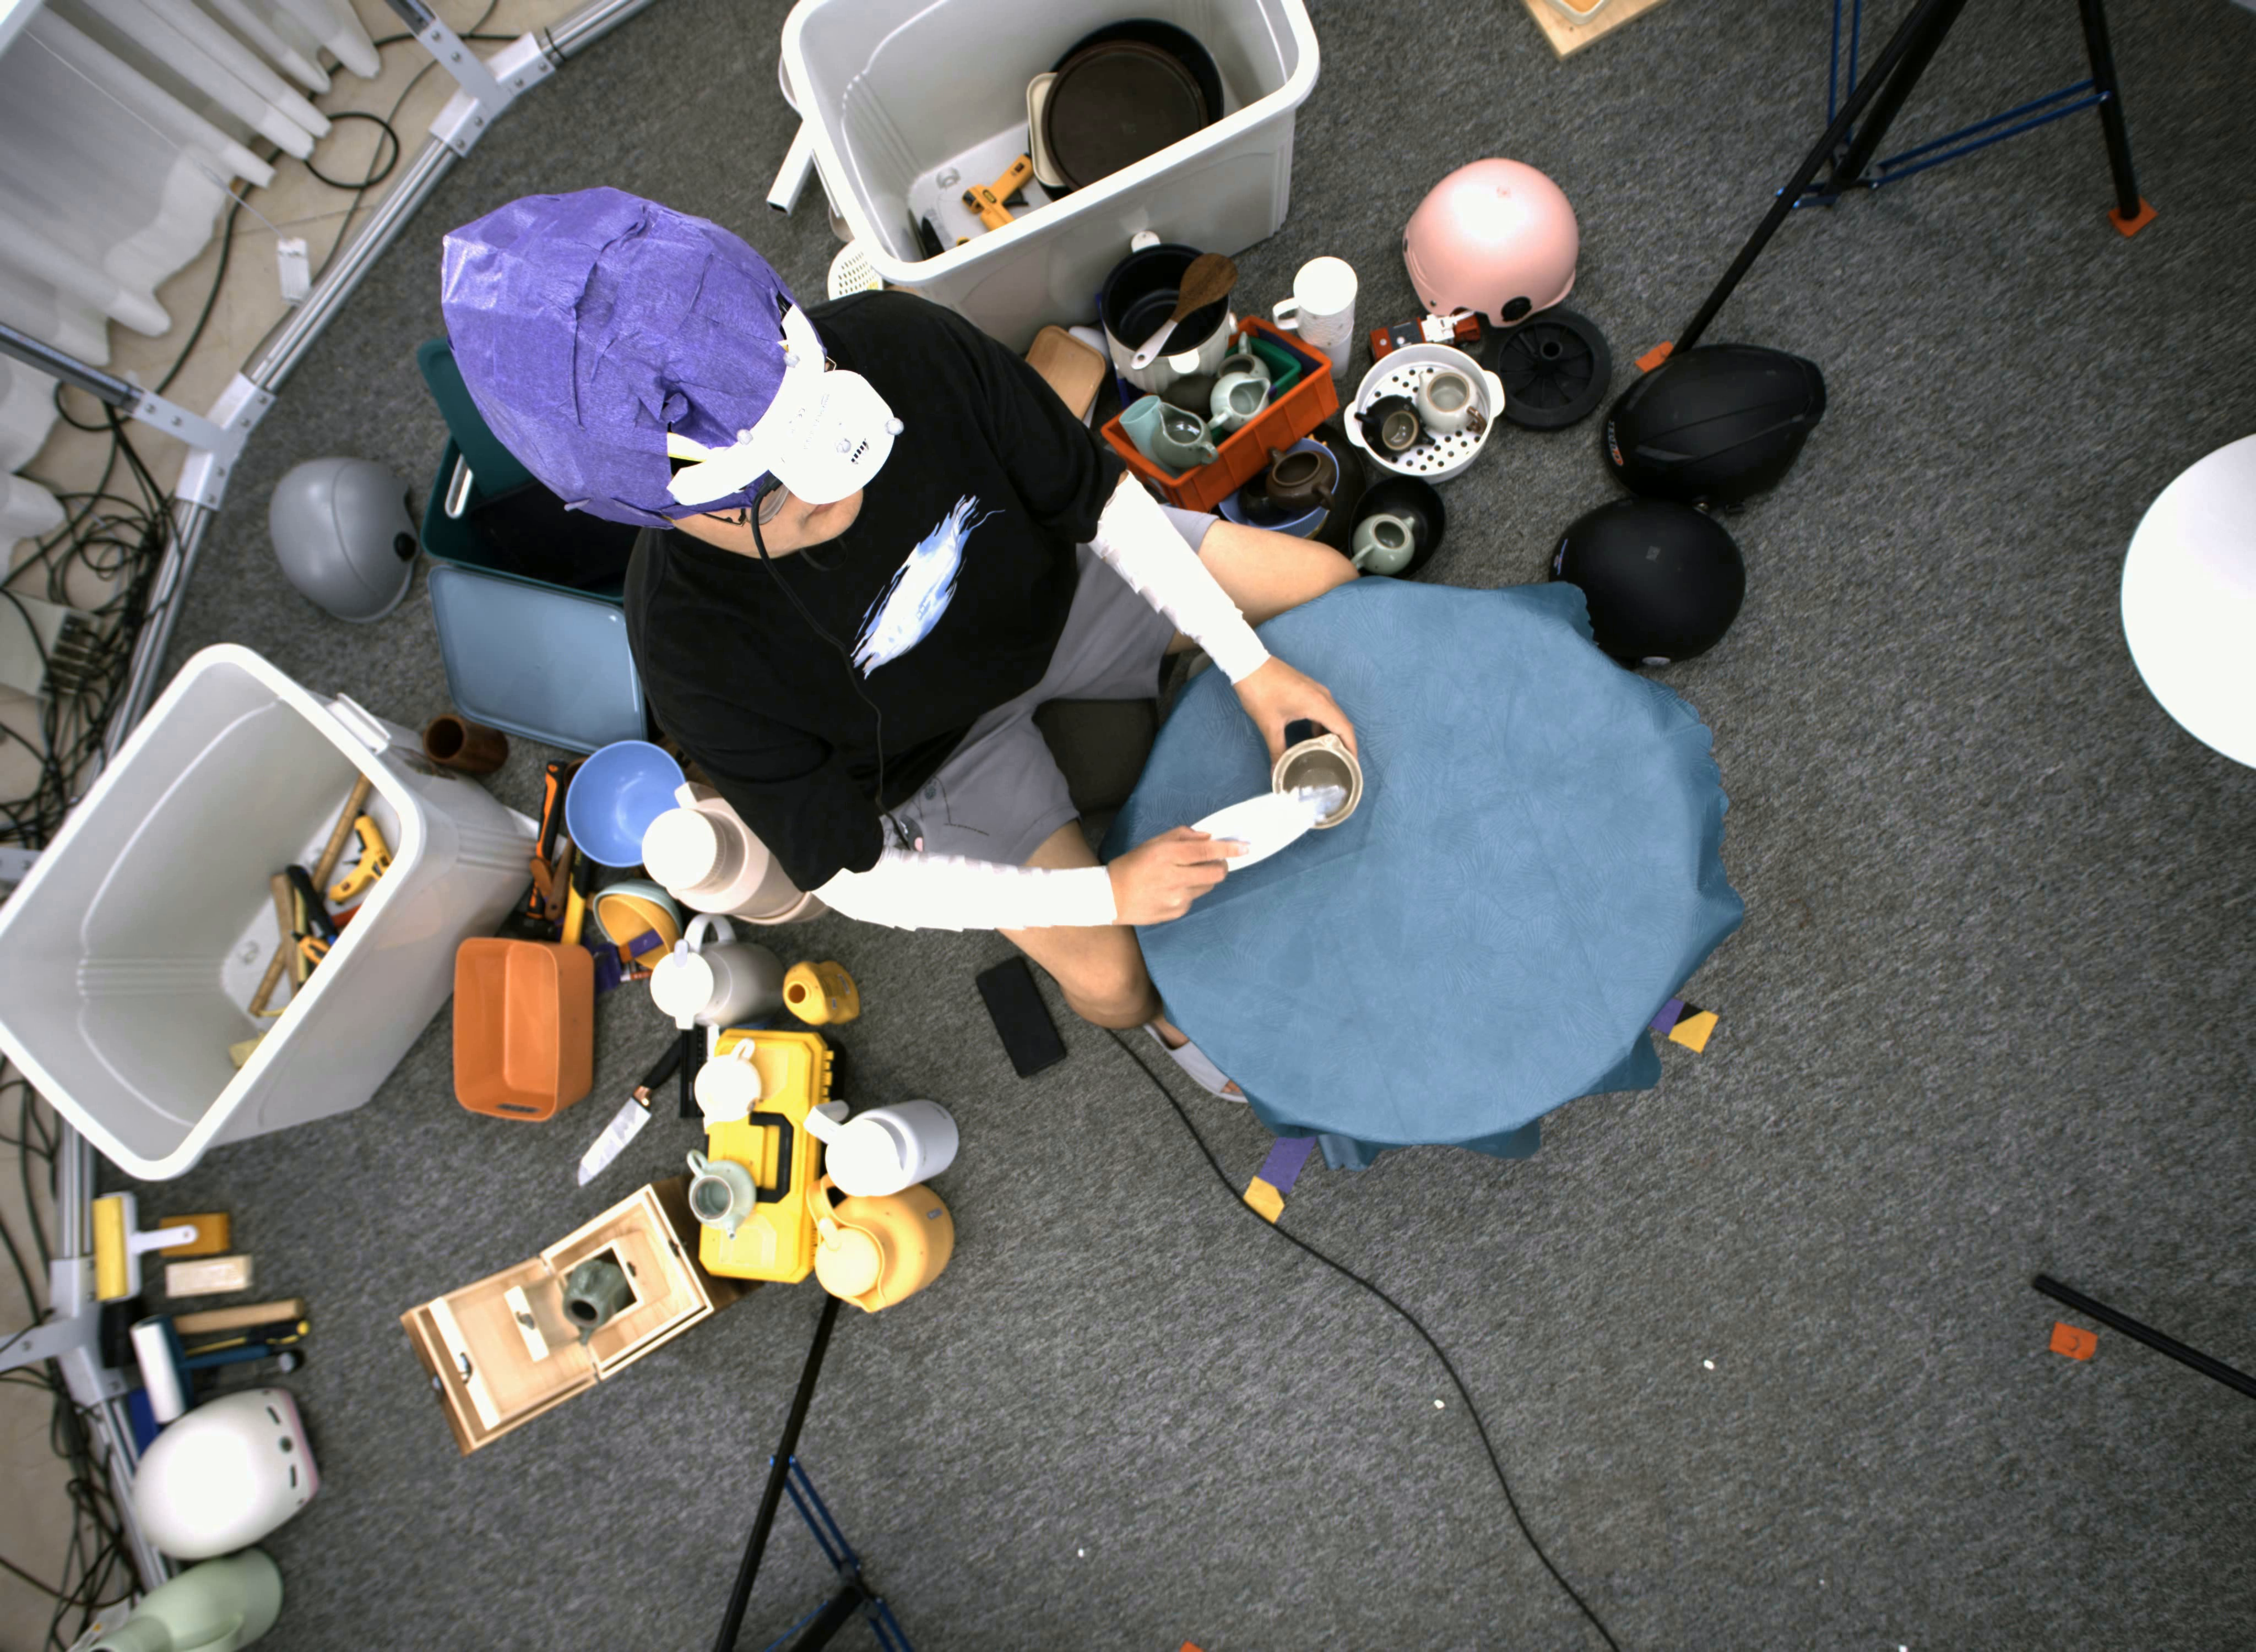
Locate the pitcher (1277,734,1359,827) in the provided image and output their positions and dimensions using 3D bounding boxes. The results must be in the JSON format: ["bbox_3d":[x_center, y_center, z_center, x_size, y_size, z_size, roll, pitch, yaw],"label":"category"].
[{"bbox_3d":[0.201,-0.044,1.441,0.084,0.071,0.095,16,86,13],"label":"pitcher"}]

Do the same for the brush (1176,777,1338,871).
[{"bbox_3d":[0.124,-0.002,1.386,0.178,0.092,0.062,-24,97,32],"label":"brush"}]
